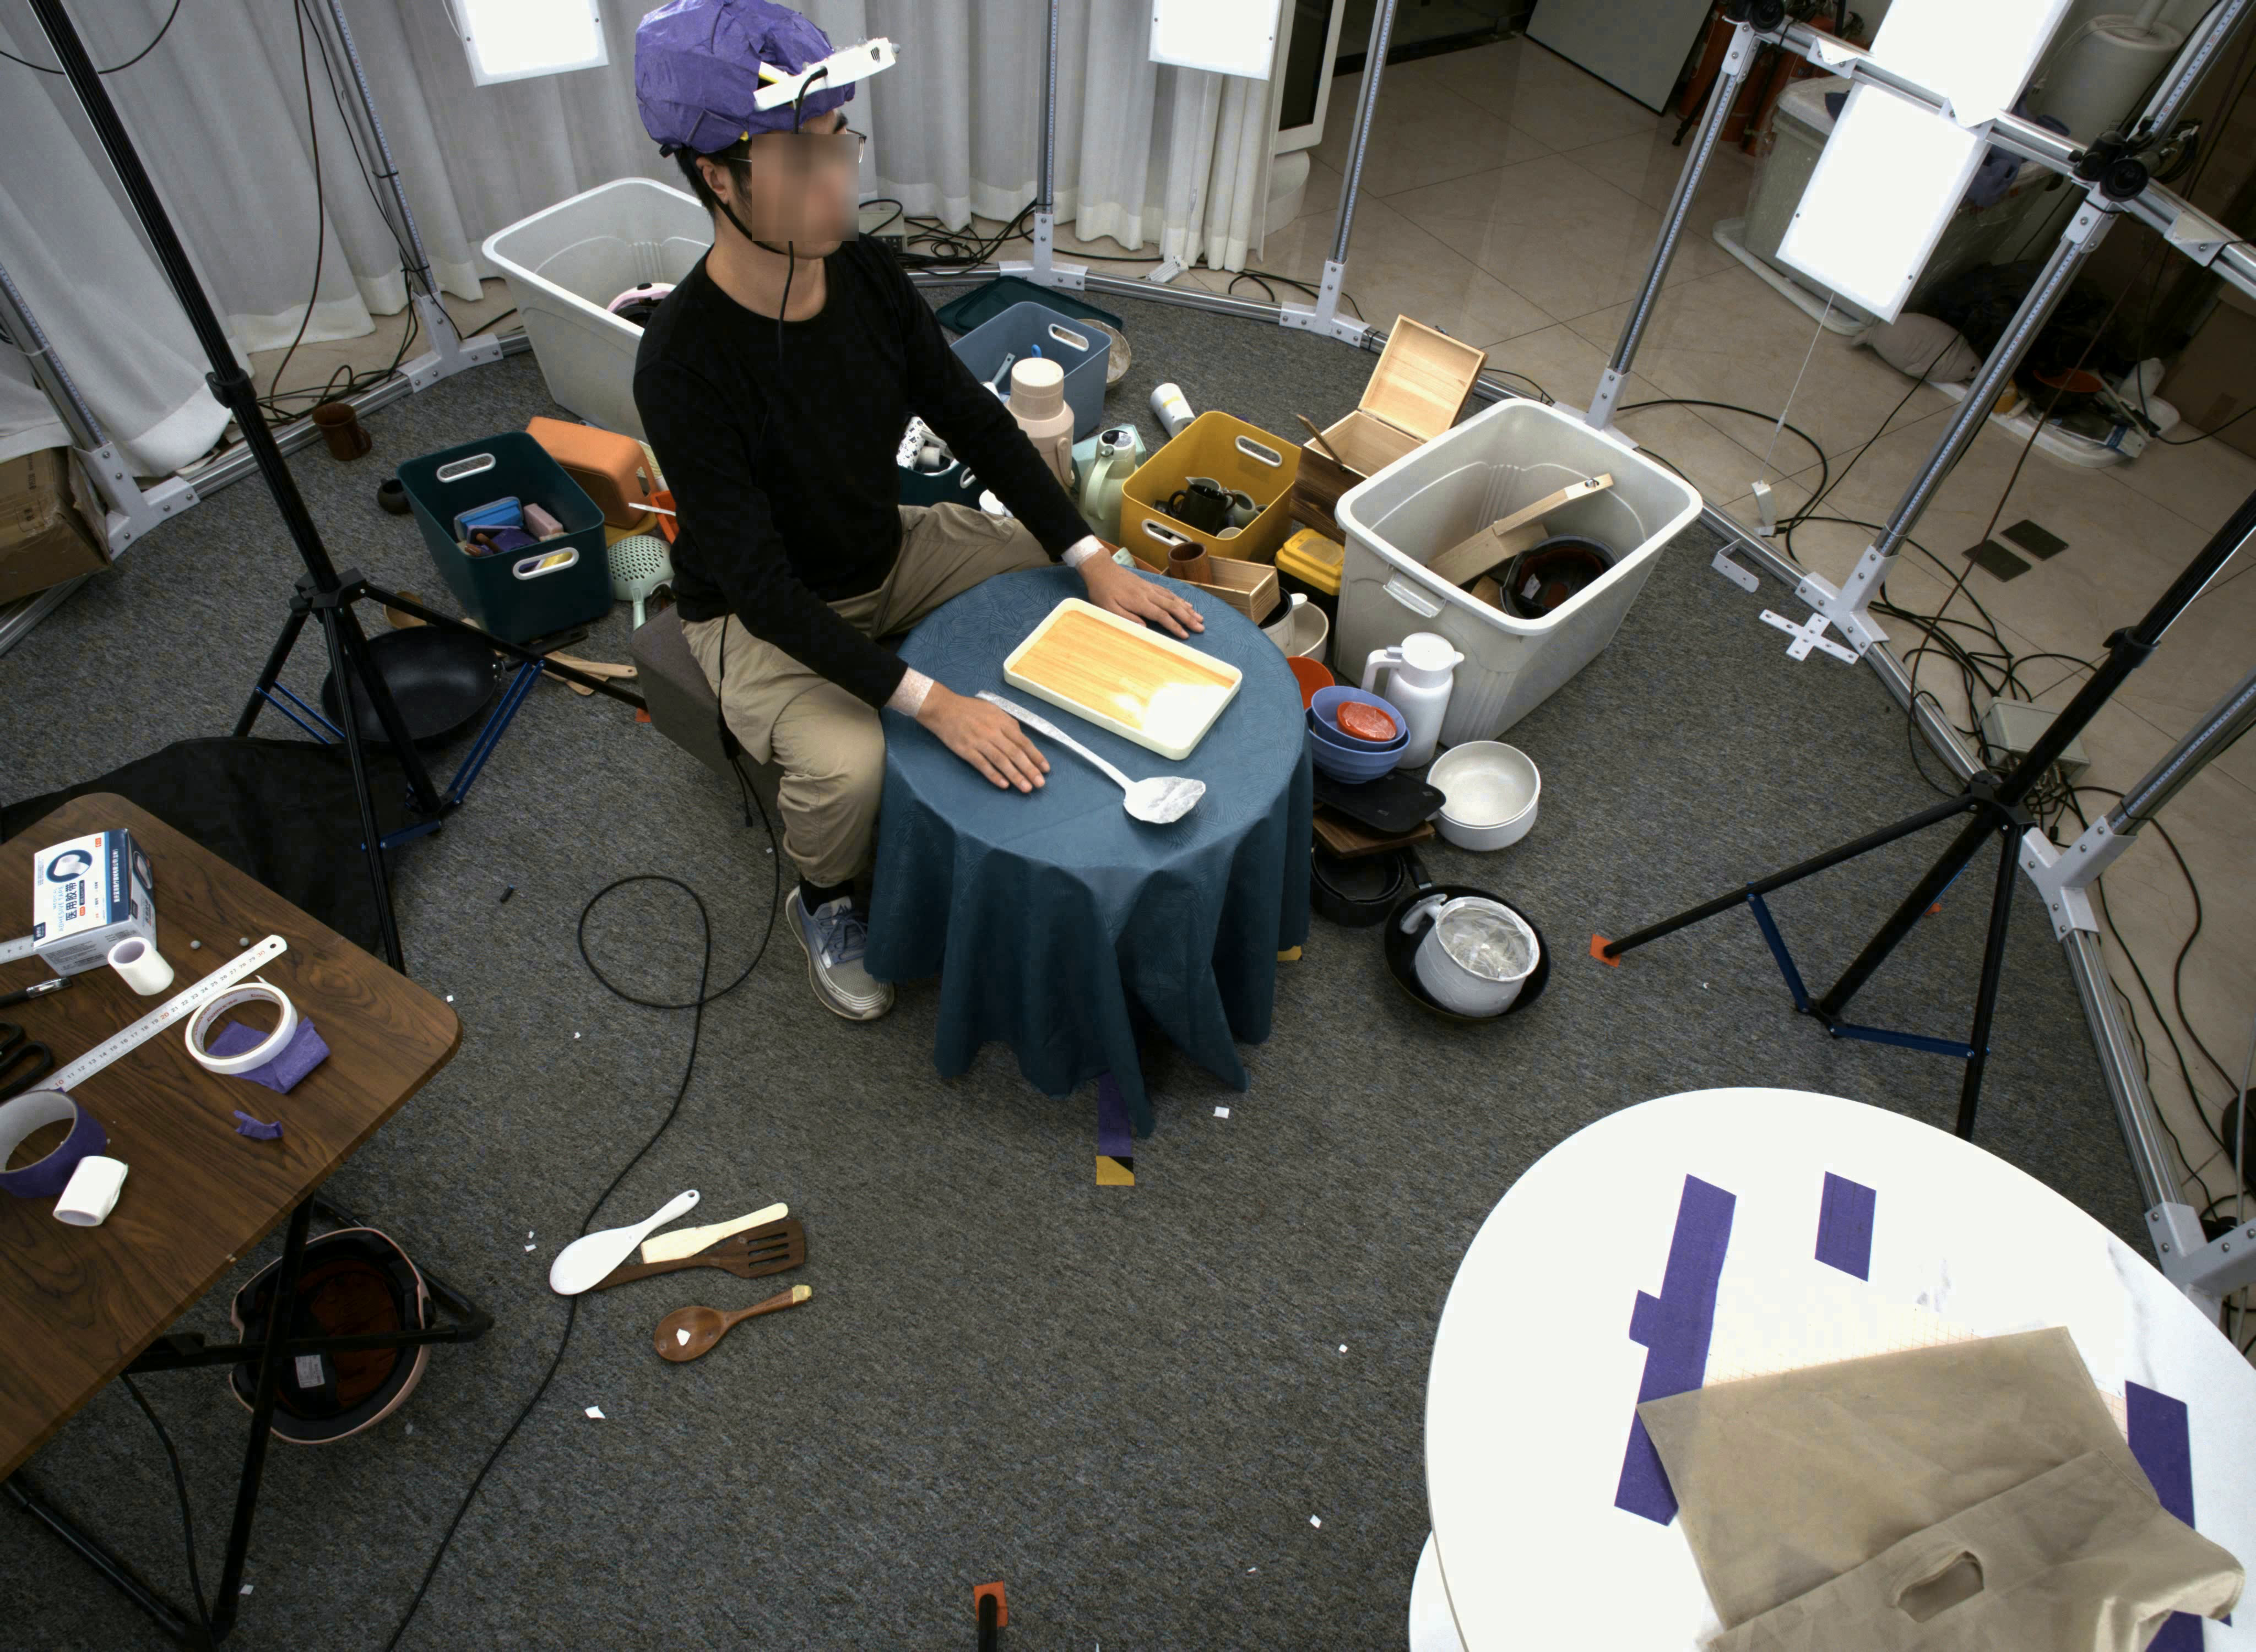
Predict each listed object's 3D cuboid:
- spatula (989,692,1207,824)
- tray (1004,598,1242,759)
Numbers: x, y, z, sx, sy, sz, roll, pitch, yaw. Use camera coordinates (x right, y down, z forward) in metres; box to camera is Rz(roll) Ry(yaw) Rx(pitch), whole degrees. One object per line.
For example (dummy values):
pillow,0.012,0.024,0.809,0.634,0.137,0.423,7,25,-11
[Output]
spatula,-0.059,-0.104,1.732,0.369,0.044,0.100,33,56,22
tray,-0.007,-0.216,1.839,0.303,0.027,0.194,26,53,18
